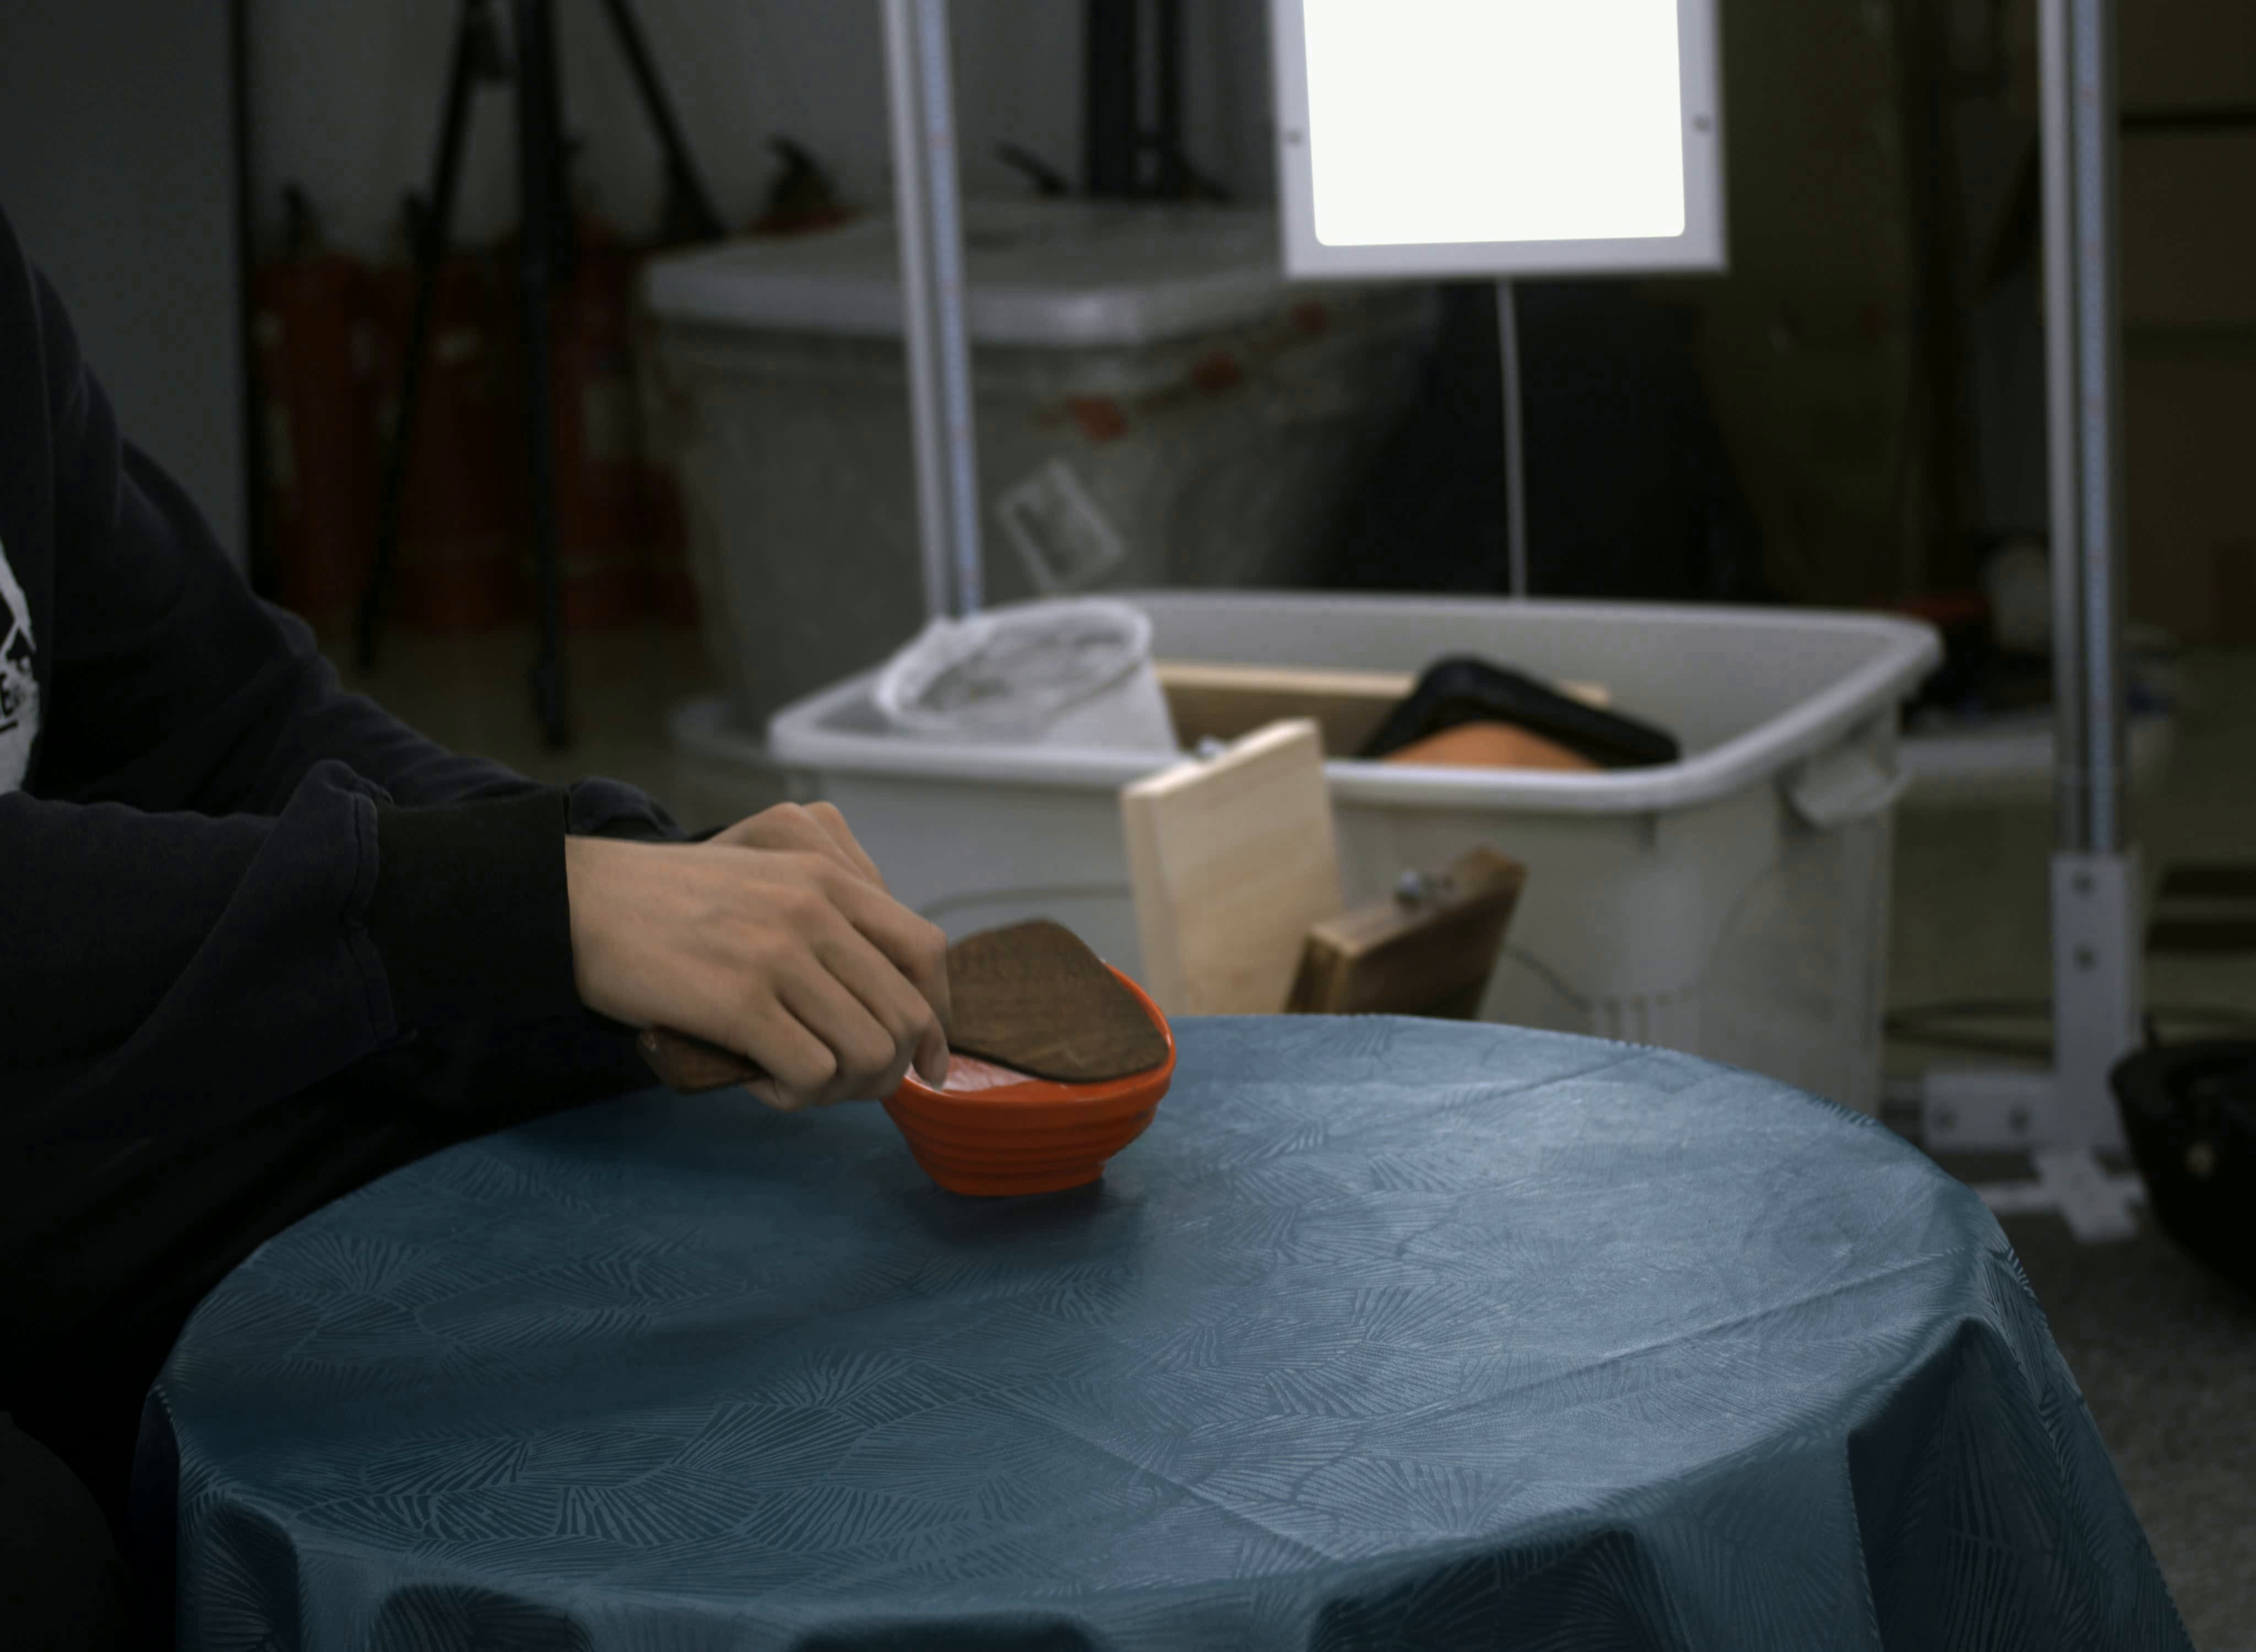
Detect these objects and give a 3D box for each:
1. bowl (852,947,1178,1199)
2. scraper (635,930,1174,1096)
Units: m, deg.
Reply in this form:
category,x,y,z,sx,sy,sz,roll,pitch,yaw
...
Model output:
category,x,y,z,sx,sy,sz,roll,pitch,yaw
bowl,-0.041,0.090,1.920,0.118,0.052,0.118,3,28,-3
scraper,-0.075,0.068,1.783,0.206,0.011,0.077,-5,43,-44
